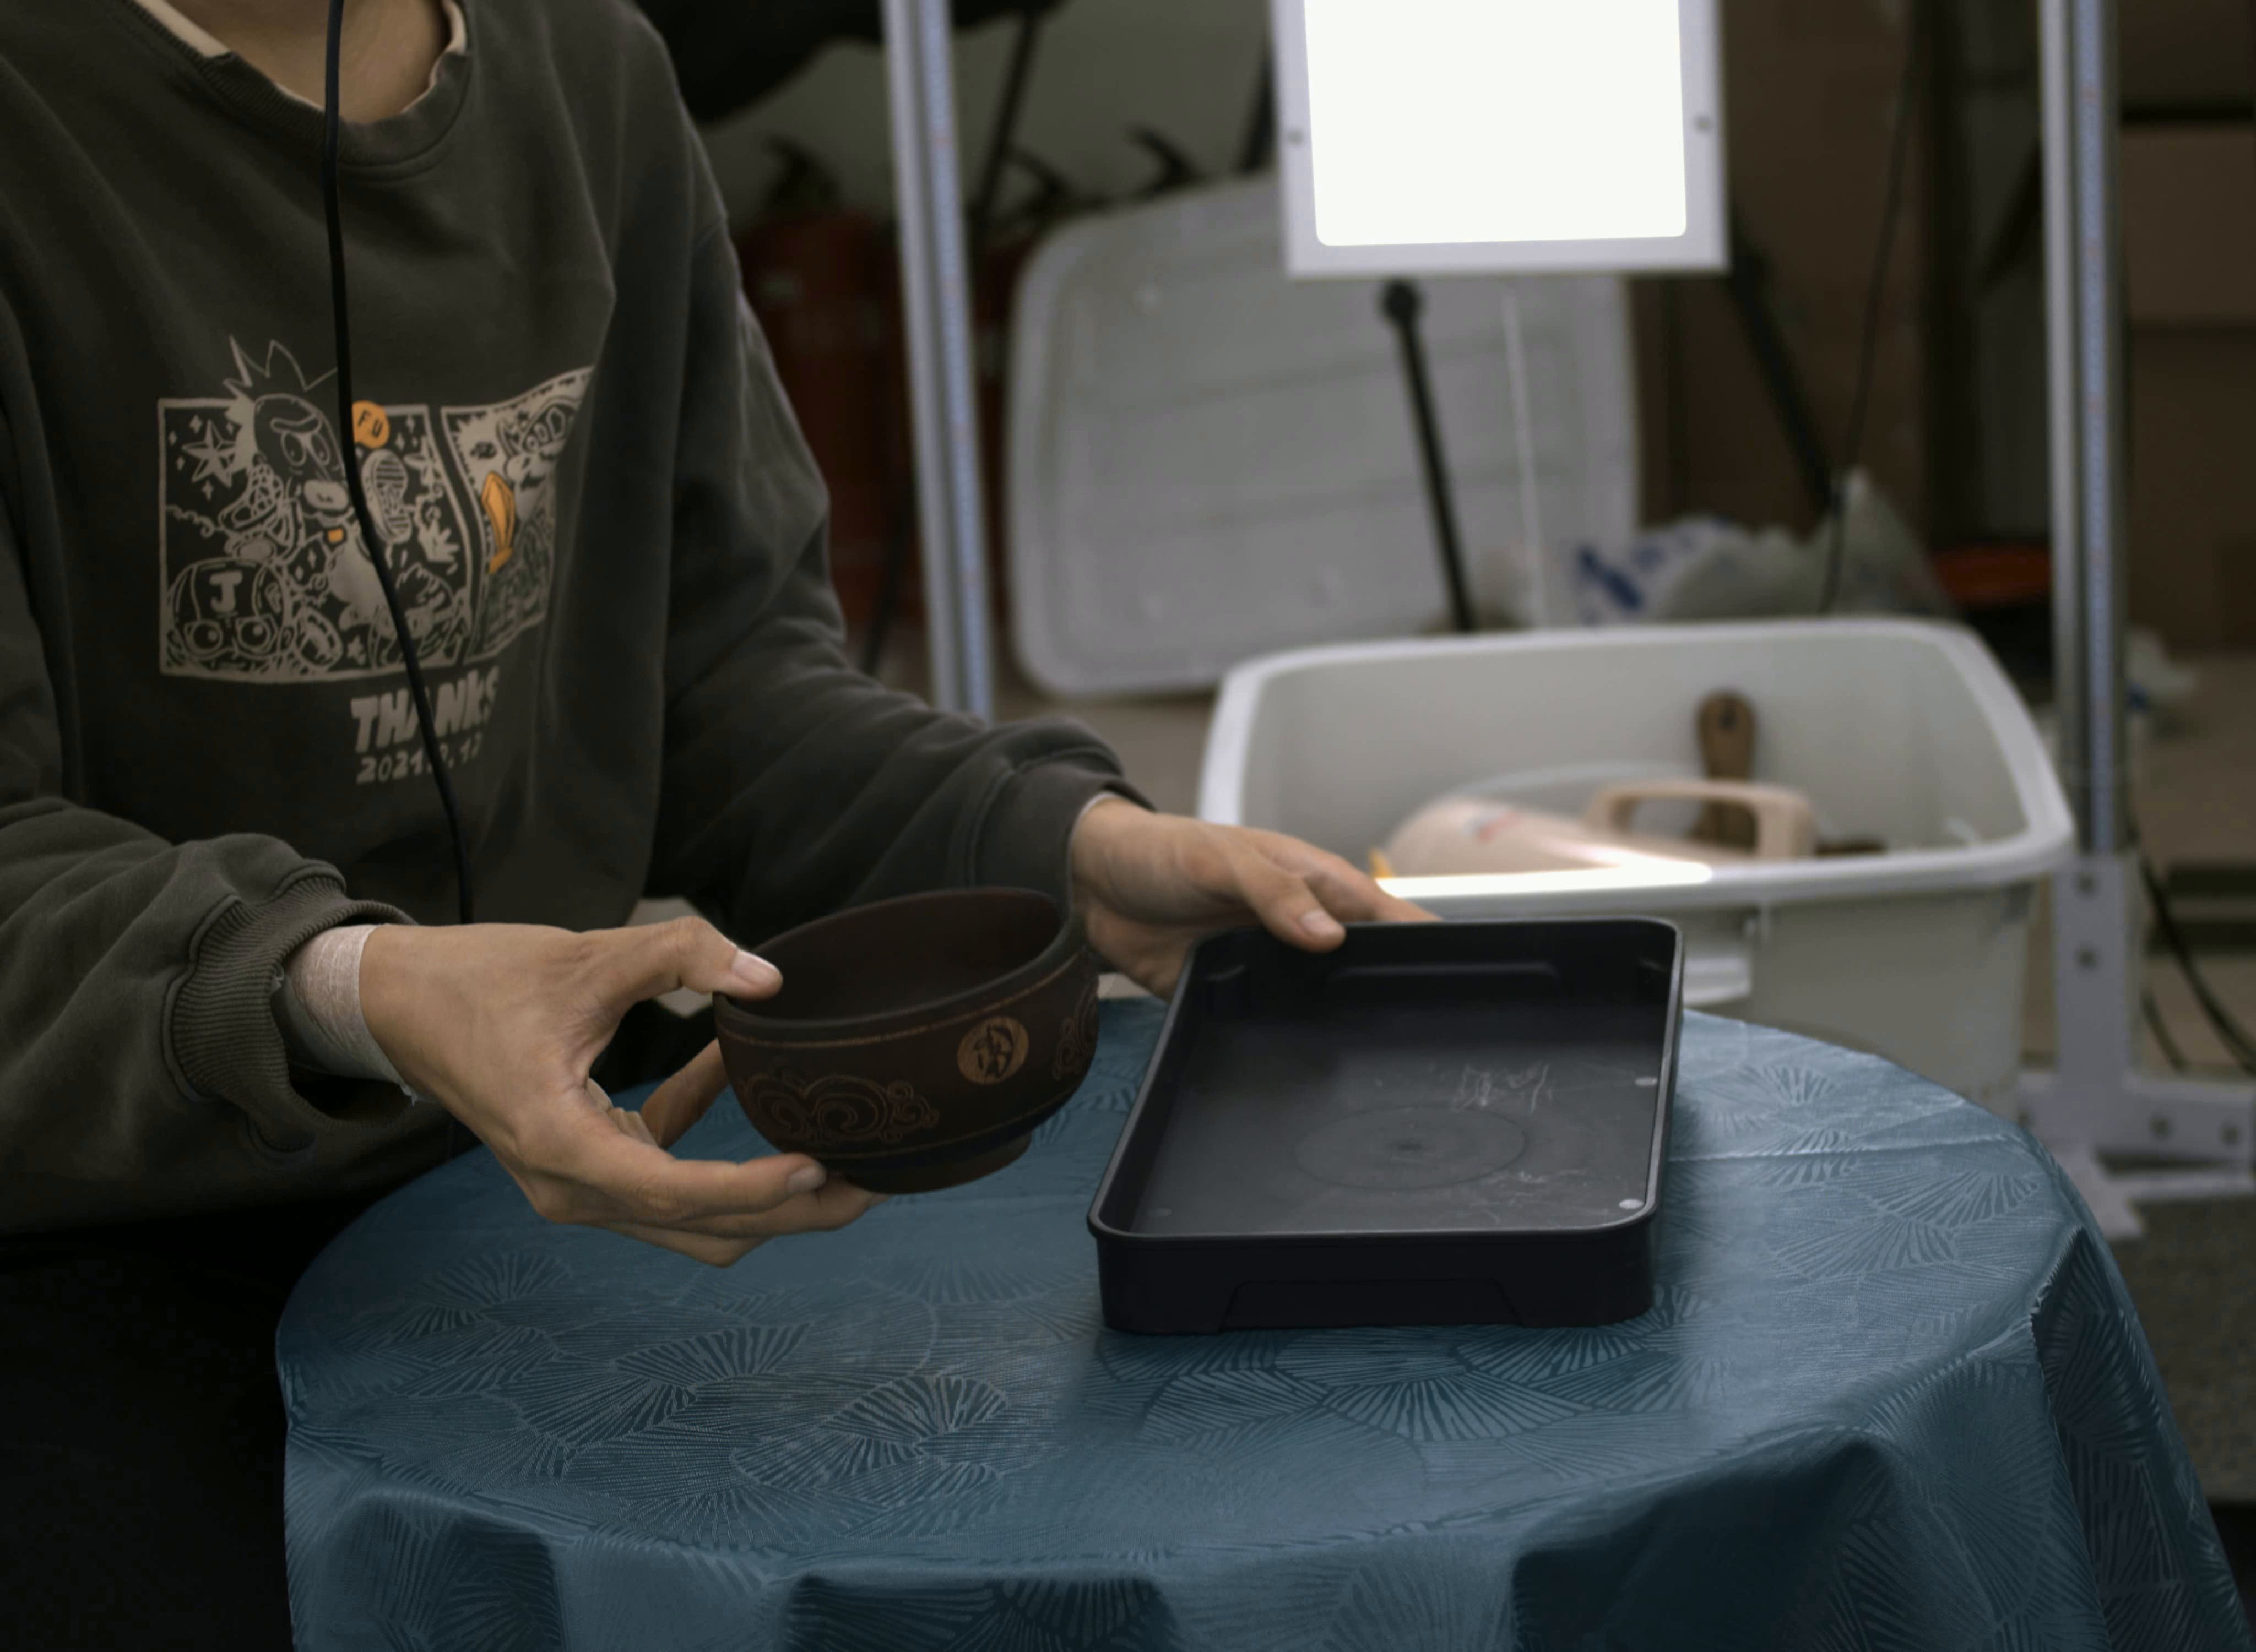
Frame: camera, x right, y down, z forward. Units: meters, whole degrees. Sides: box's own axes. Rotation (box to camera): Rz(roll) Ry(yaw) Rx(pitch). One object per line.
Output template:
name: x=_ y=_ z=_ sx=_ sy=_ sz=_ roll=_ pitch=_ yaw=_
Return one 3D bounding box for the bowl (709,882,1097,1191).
bowl: x=-0.065 y=0.069 z=1.687 sx=0.118 sy=0.070 sz=0.118 roll=-13 pitch=16 yaw=2

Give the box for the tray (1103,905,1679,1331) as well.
tray: x=0.097 y=0.095 z=1.880 sx=0.185 sy=0.037 sz=0.315 roll=-3 pitch=17 yaw=8
